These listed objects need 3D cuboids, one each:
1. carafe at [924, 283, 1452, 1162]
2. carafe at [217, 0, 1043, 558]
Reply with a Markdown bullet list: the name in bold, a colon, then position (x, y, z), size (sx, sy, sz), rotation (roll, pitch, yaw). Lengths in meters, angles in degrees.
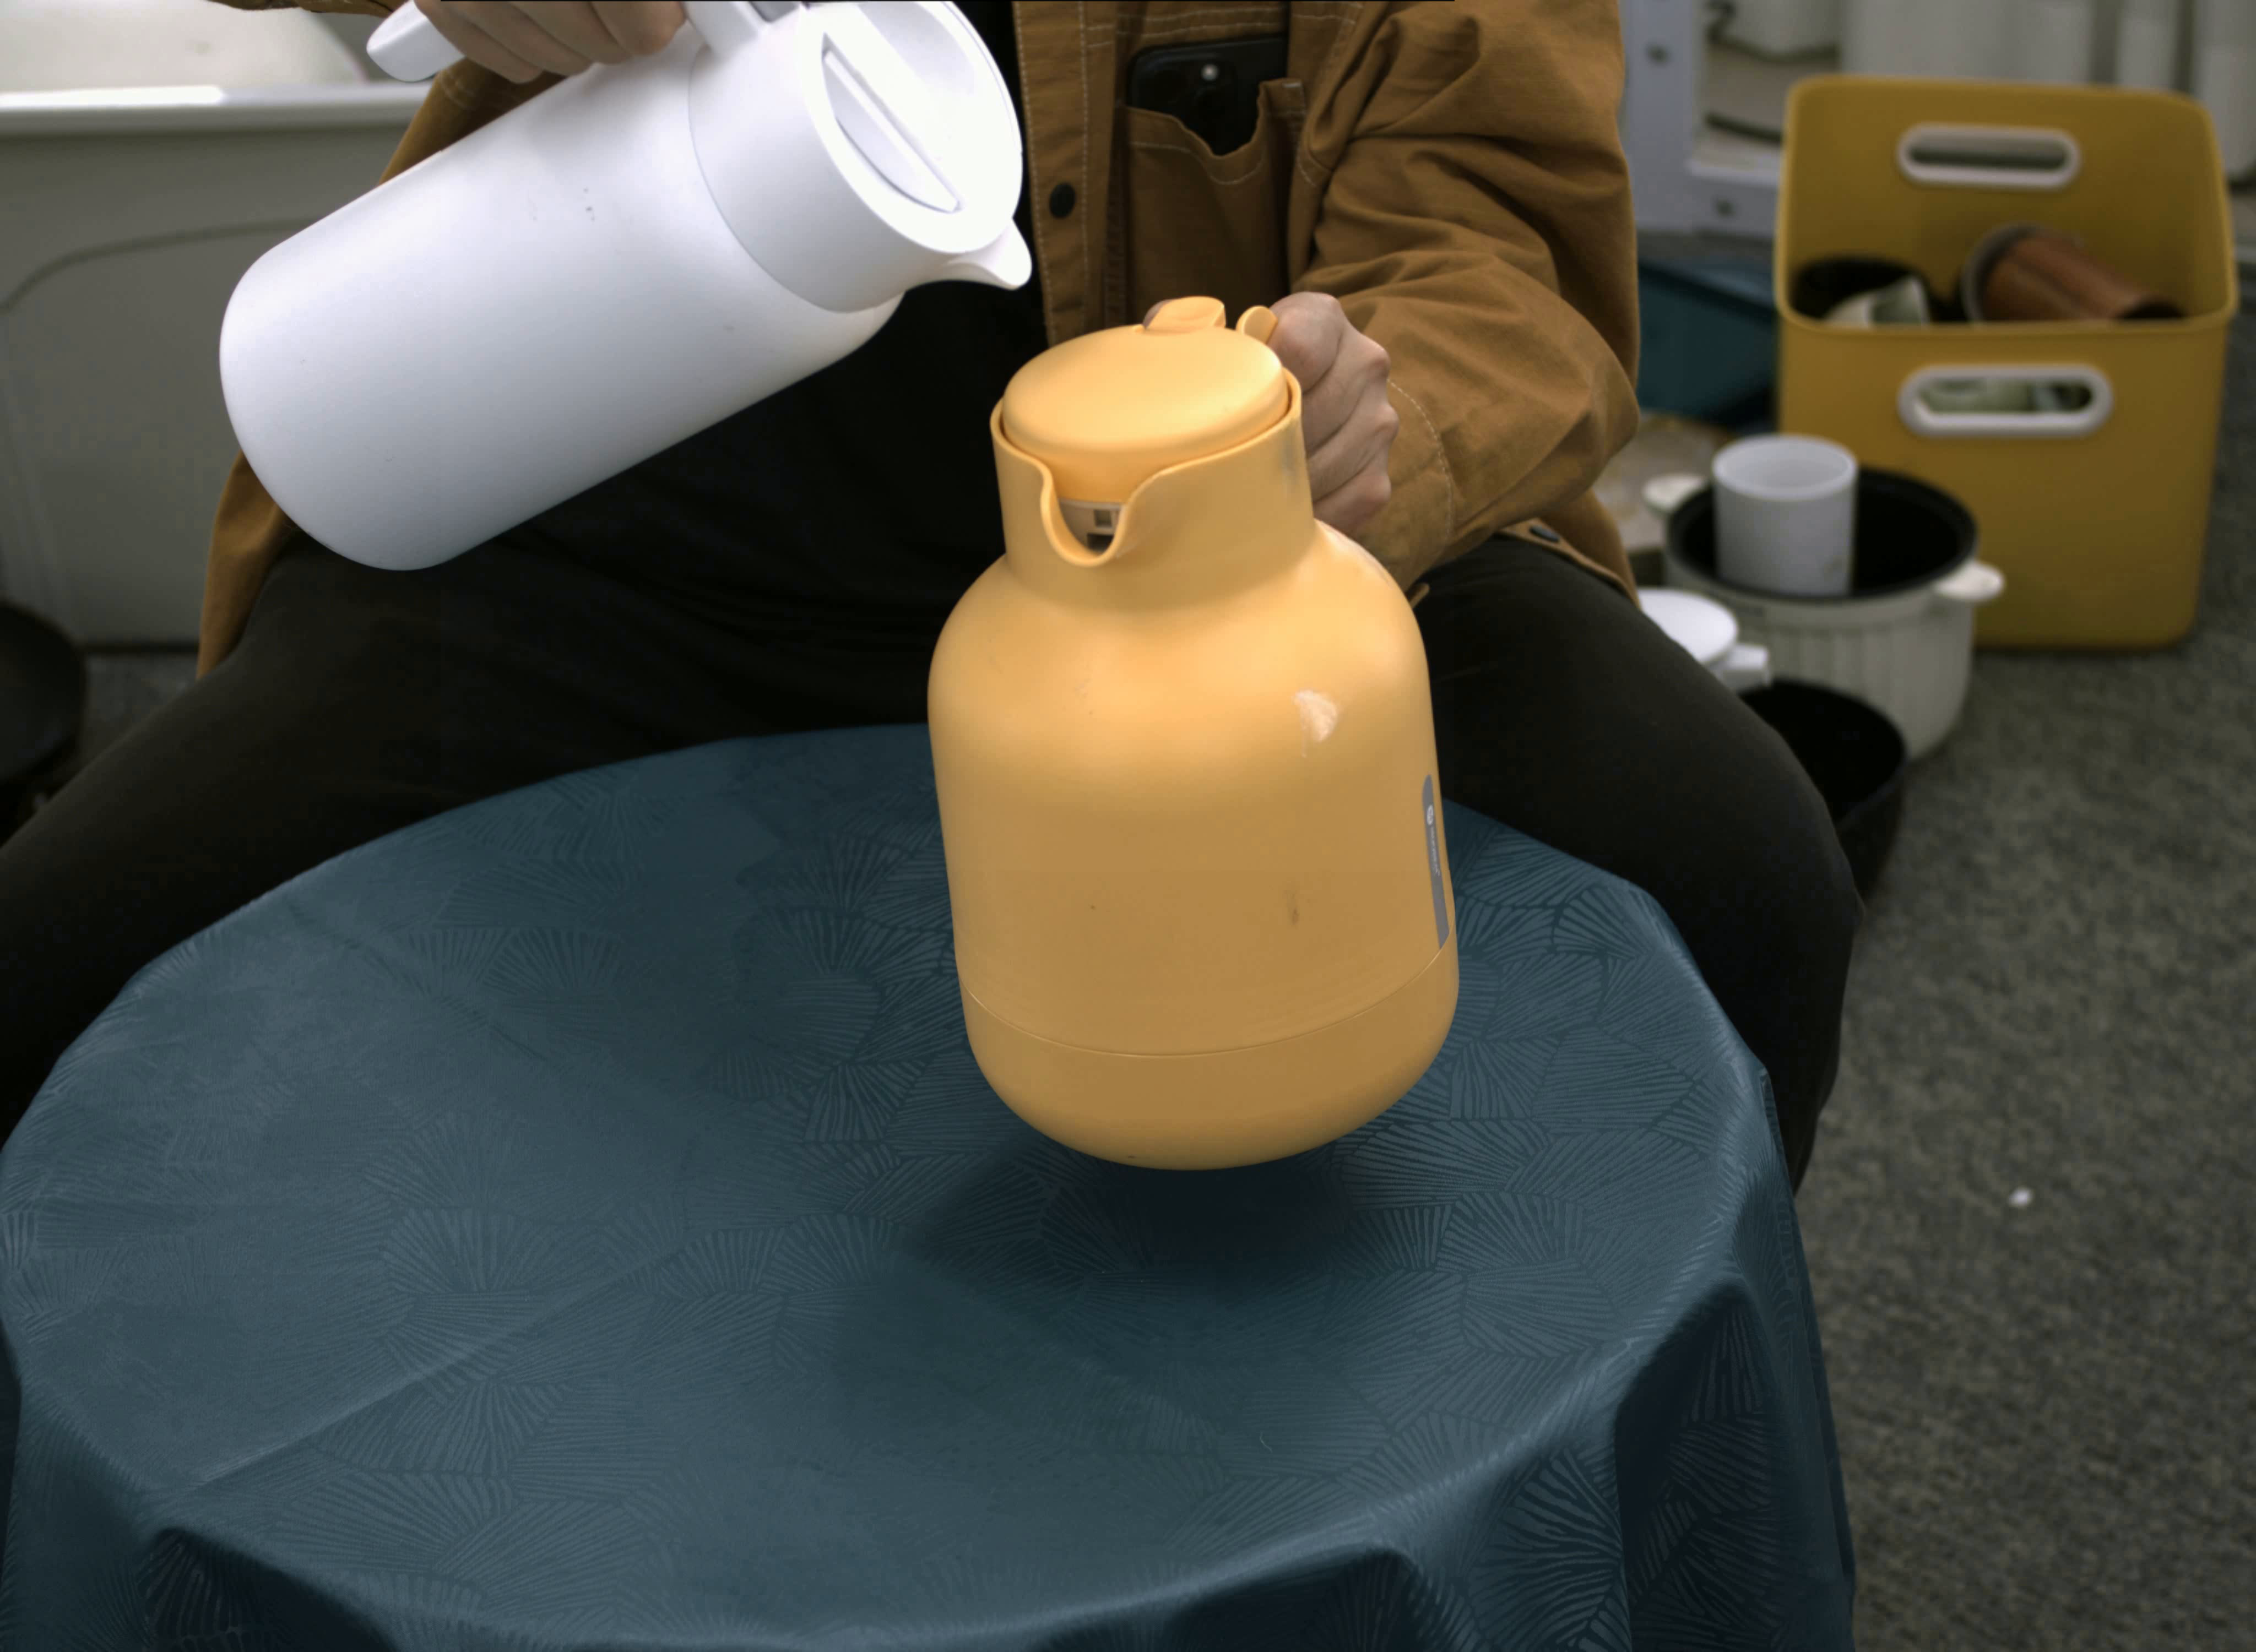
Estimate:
- **carafe**: position (0.024, -0.042, 1.808), size (0.162, 0.257, 0.206), rotation (6, 31, 18)
- **carafe**: position (-0.173, -0.193, 1.776), size (0.265, 0.172, 0.126), rotation (-22, 27, 38)
